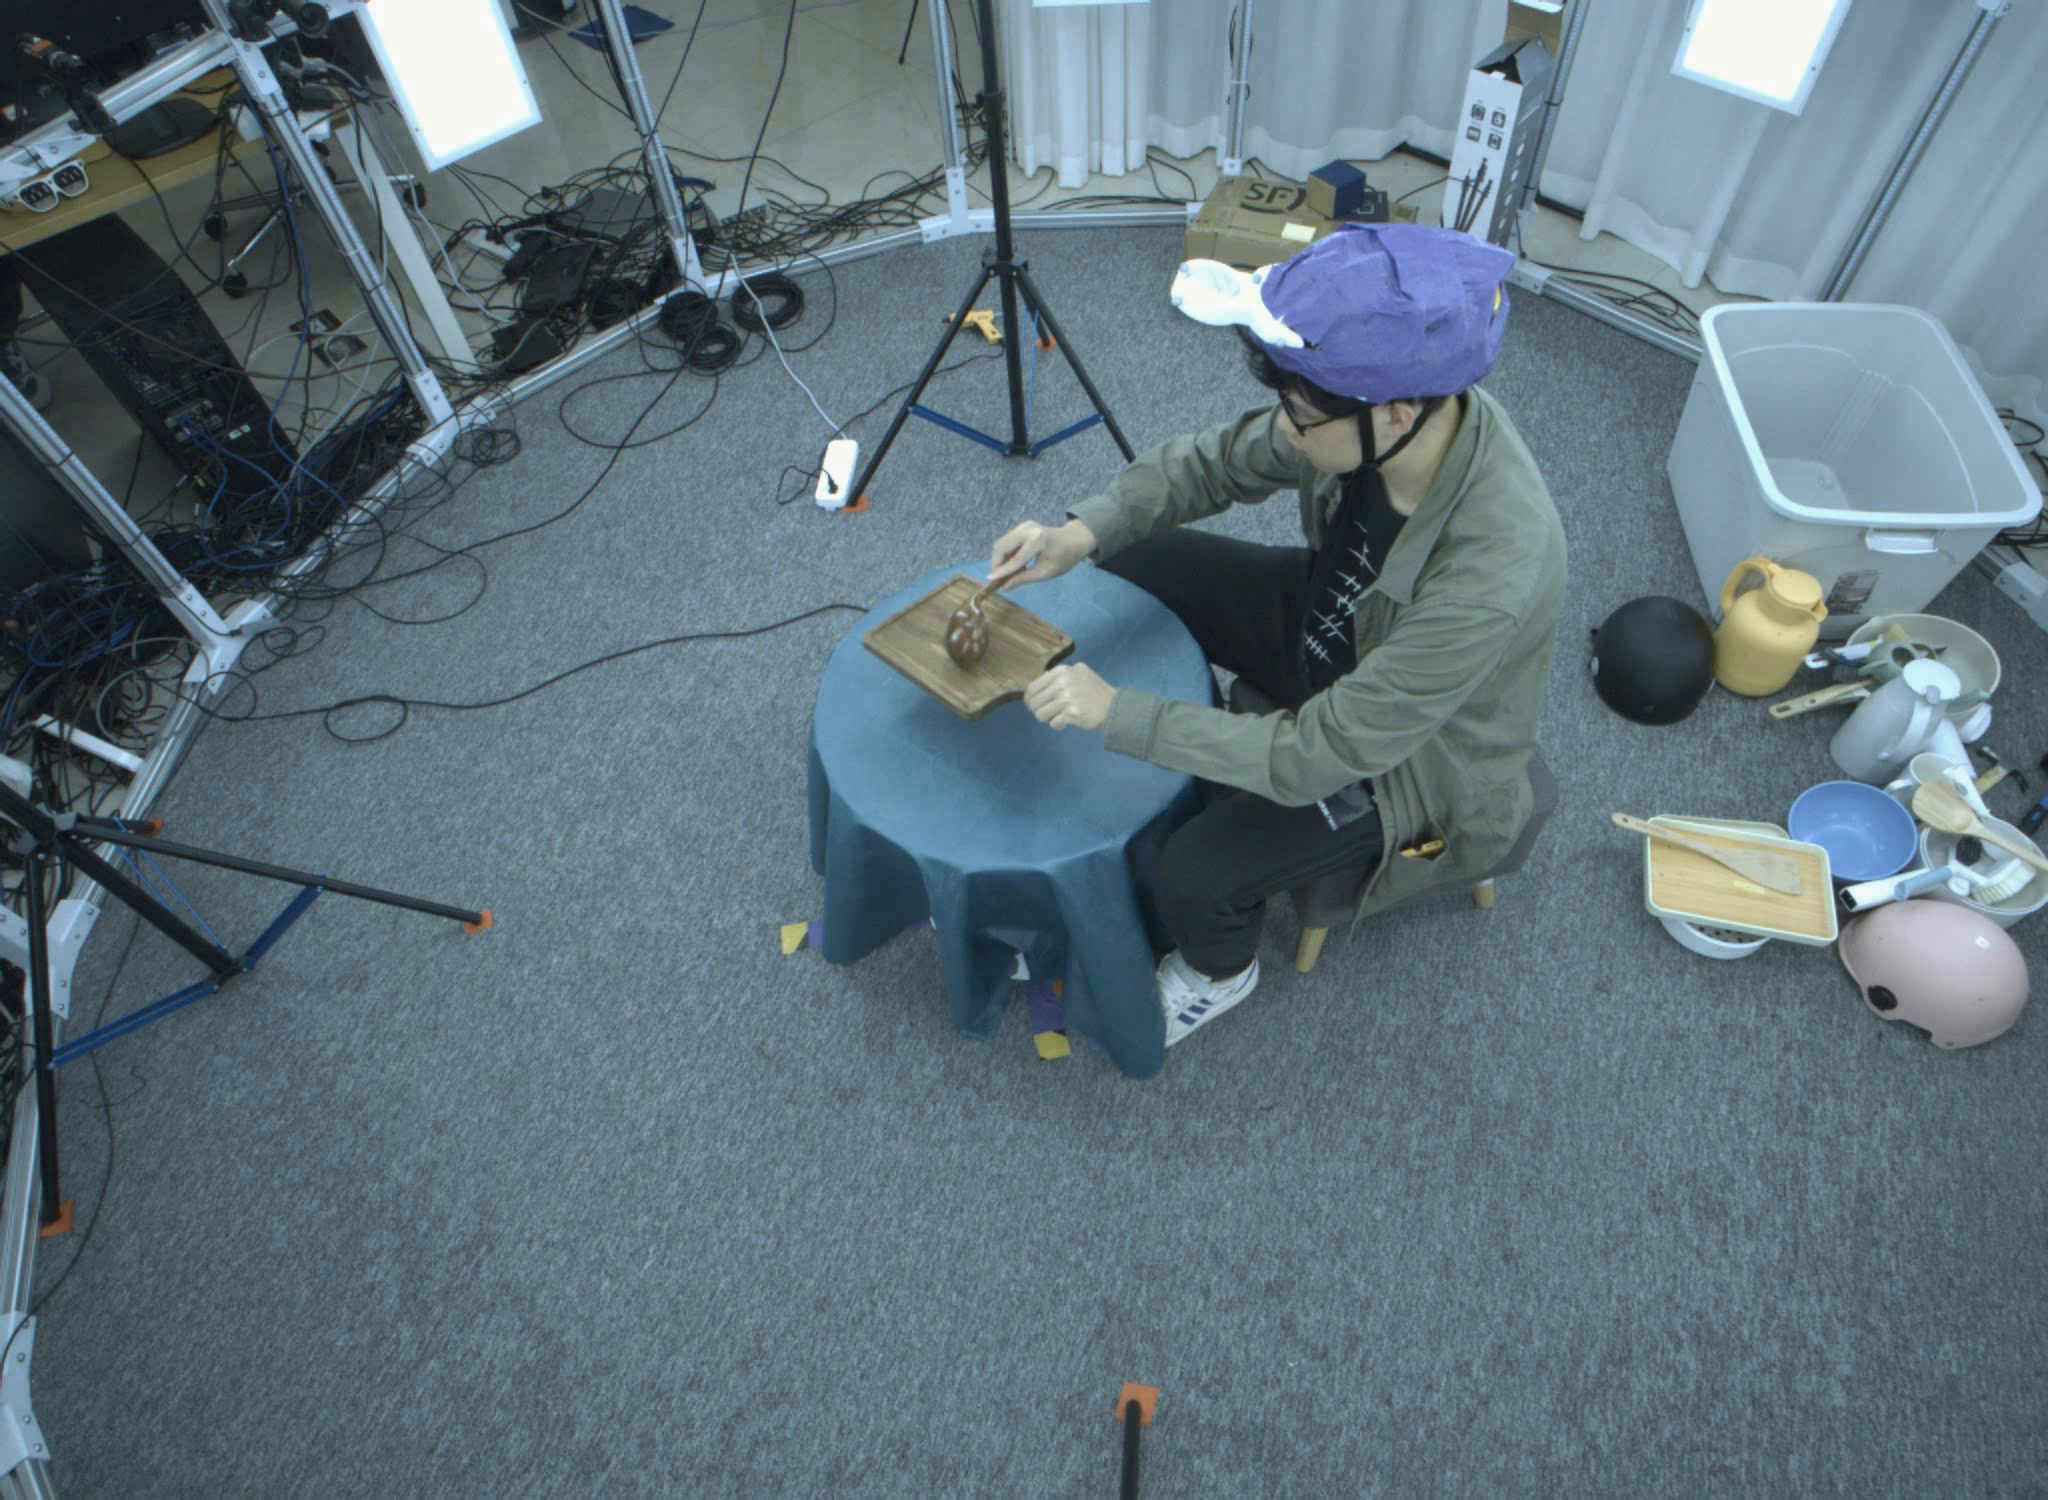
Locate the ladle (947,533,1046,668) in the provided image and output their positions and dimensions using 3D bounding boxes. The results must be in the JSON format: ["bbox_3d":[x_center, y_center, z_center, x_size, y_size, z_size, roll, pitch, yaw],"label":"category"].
[{"bbox_3d":[-0.023,-0.213,1.734,0.080,0.077,0.275,-17,24,44],"label":"ladle"}]

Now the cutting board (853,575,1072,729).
[{"bbox_3d":[-0.061,-0.121,1.692,0.203,0.023,0.344,-36,52,-24],"label":"cutting board"}]
